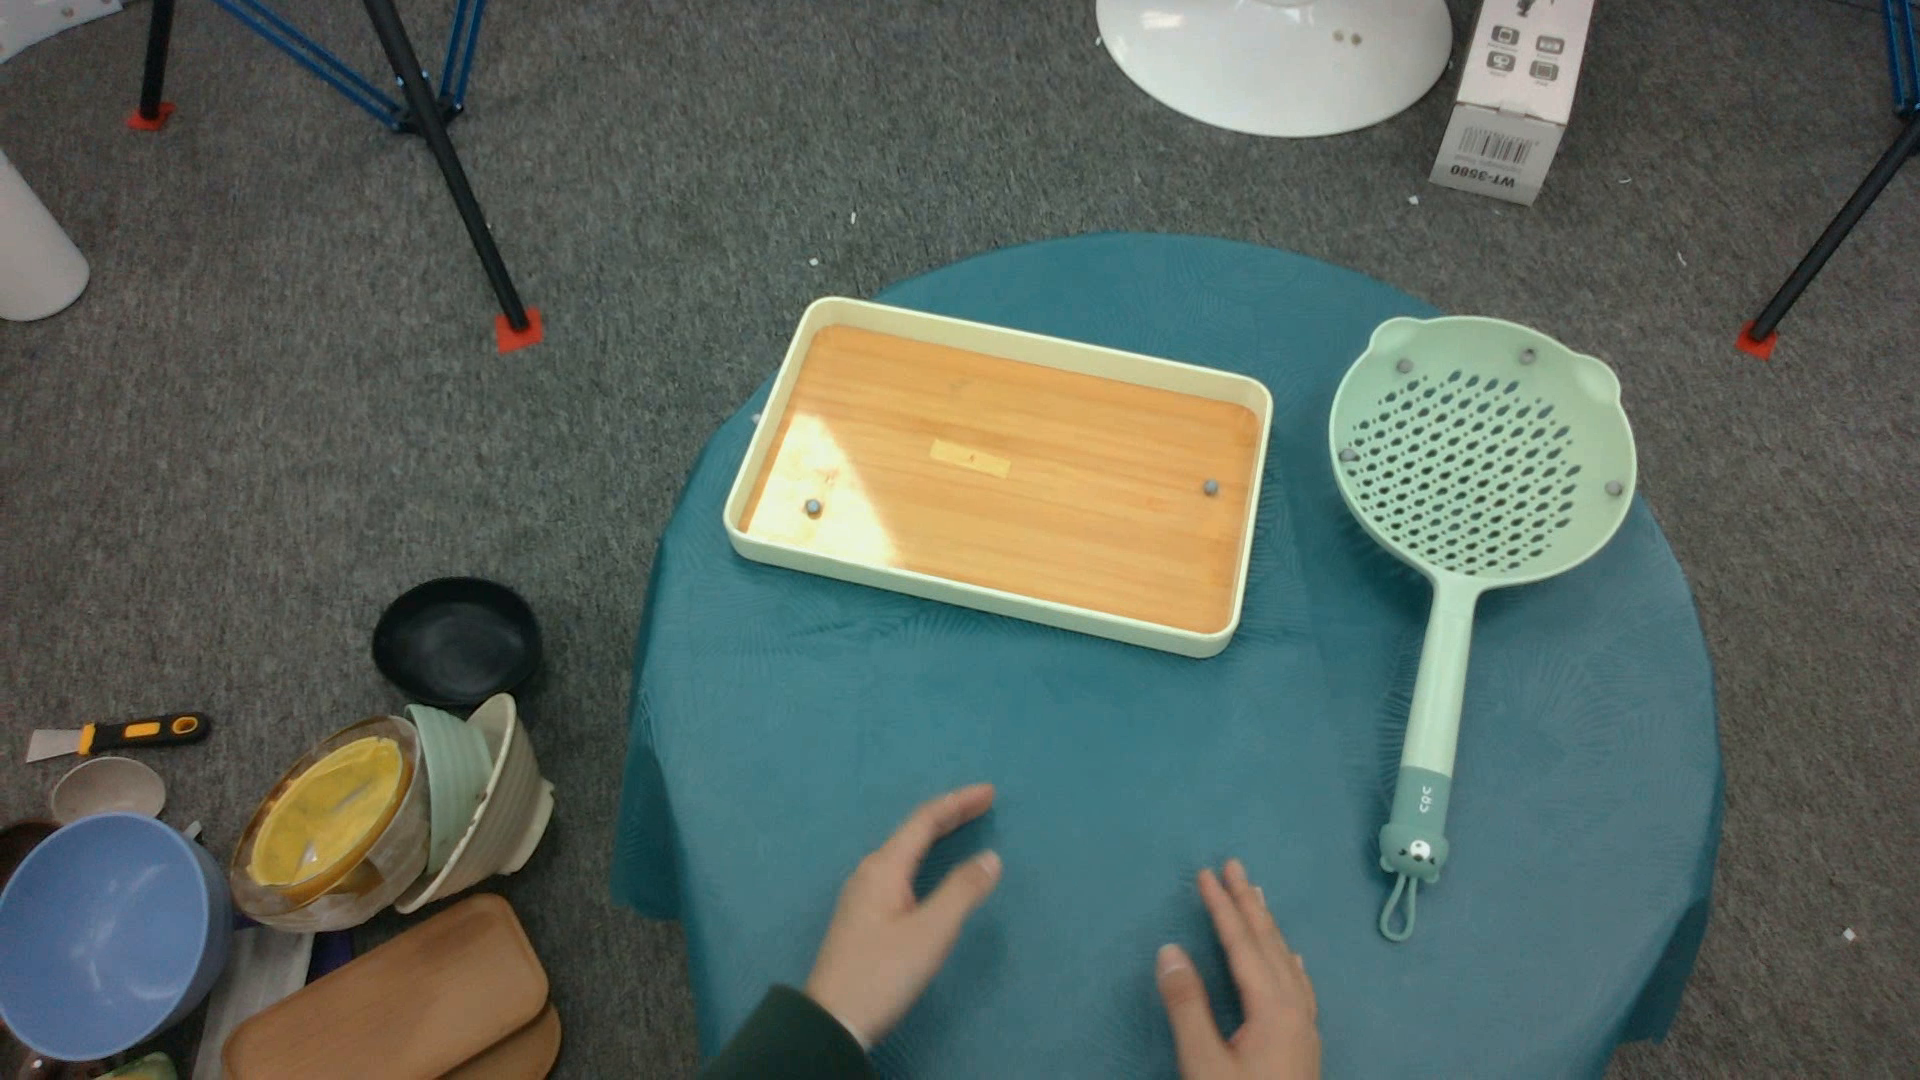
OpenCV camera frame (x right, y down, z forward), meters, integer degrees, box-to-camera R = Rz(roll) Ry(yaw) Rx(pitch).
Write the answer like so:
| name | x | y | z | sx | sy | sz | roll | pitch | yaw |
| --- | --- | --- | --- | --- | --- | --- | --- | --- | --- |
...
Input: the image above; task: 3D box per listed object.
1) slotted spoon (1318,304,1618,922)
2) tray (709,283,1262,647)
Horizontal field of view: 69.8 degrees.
| name | x | y | z | sx | sy | sz | roll | pitch | yaw |
| --- | --- | --- | --- | --- | --- | --- | --- | --- | --- |
| slotted spoon | 0.262 | 0.028 | 0.757 | 0.169 | 0.075 | 0.360 | 15 | 59 | 8 |
| tray | 0.020 | -0.051 | 0.822 | 0.300 | 0.027 | 0.192 | 12 | 59 | 7 |
